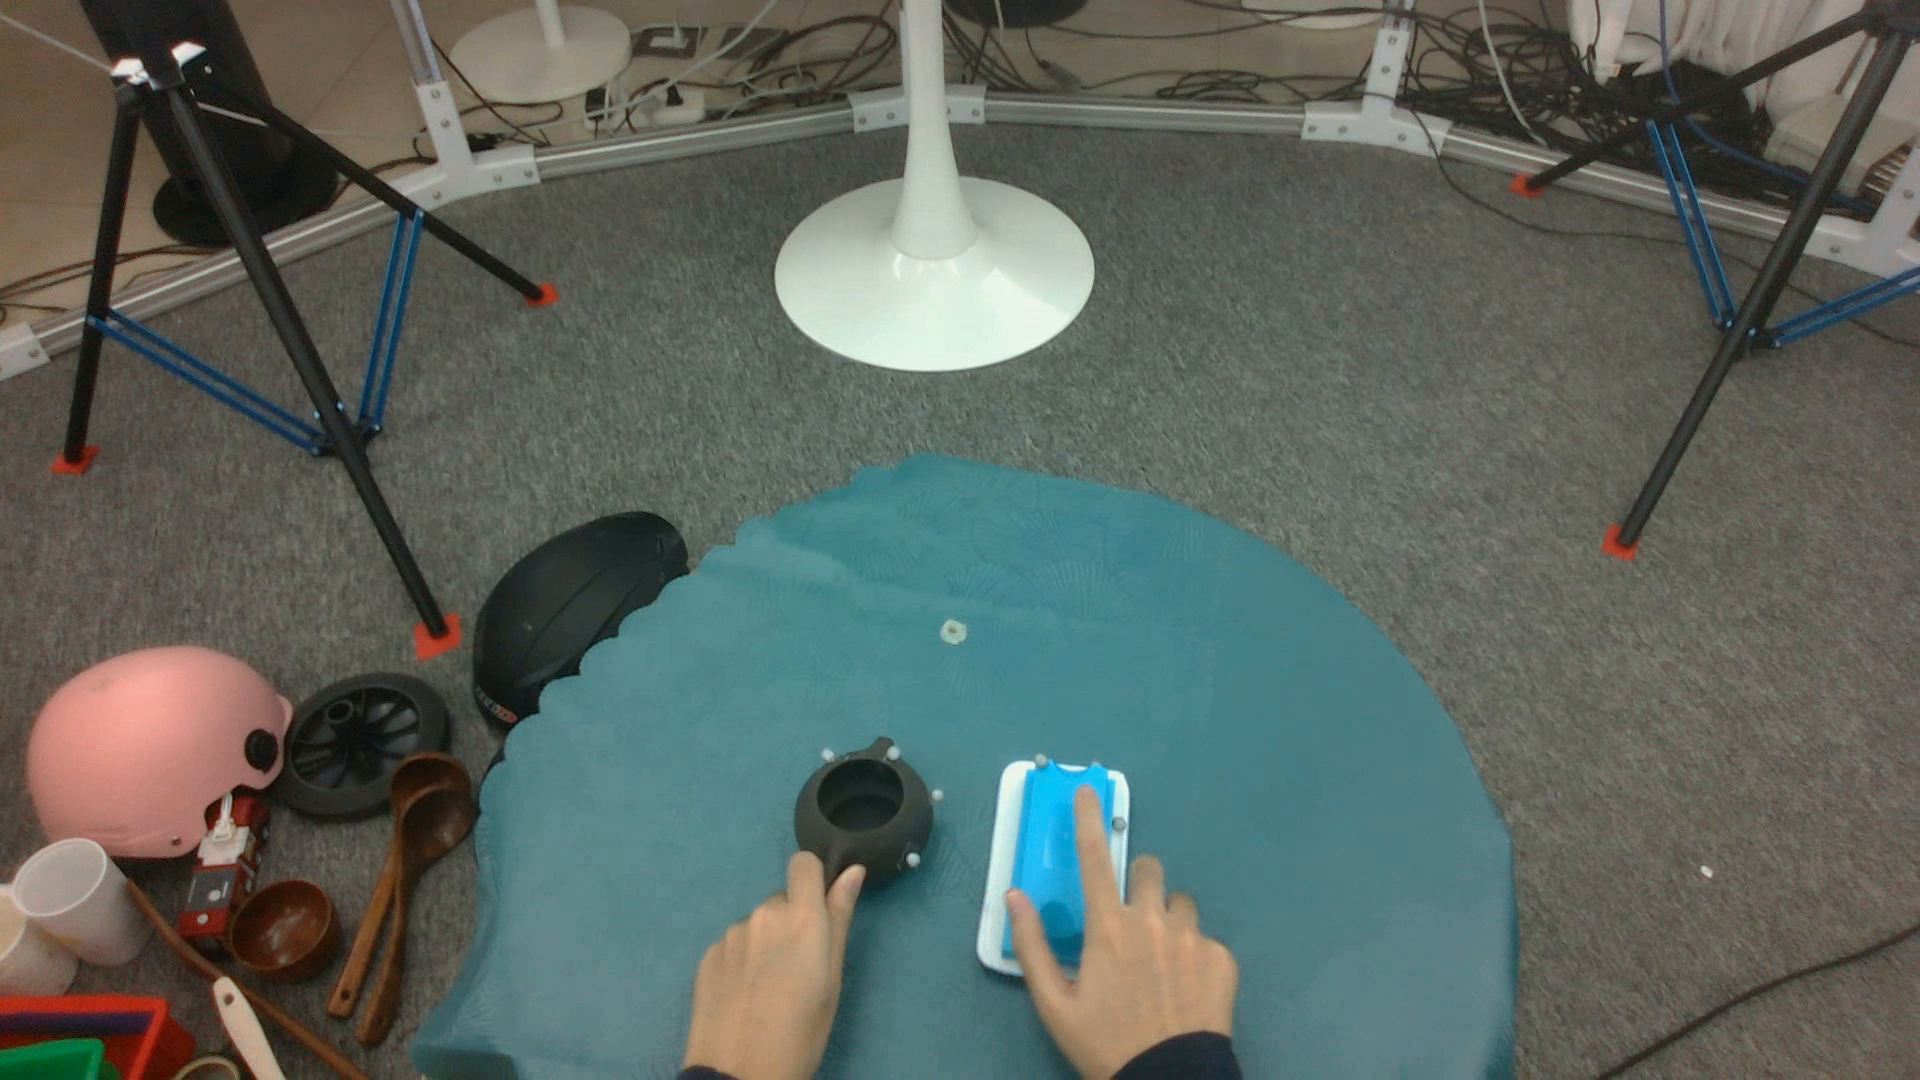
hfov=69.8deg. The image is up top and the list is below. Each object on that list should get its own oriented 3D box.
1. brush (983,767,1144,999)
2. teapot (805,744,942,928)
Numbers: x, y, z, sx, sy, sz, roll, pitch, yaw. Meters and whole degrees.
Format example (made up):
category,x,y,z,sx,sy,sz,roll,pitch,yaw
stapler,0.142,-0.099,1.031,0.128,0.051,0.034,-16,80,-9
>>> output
category,x,y,z,sx,sy,sz,roll,pitch,yaw
brush,0.062,0.190,0.799,0.084,0.055,0.144,4,46,10
teapot,-0.057,0.178,0.820,0.083,0.053,0.115,13,47,18
